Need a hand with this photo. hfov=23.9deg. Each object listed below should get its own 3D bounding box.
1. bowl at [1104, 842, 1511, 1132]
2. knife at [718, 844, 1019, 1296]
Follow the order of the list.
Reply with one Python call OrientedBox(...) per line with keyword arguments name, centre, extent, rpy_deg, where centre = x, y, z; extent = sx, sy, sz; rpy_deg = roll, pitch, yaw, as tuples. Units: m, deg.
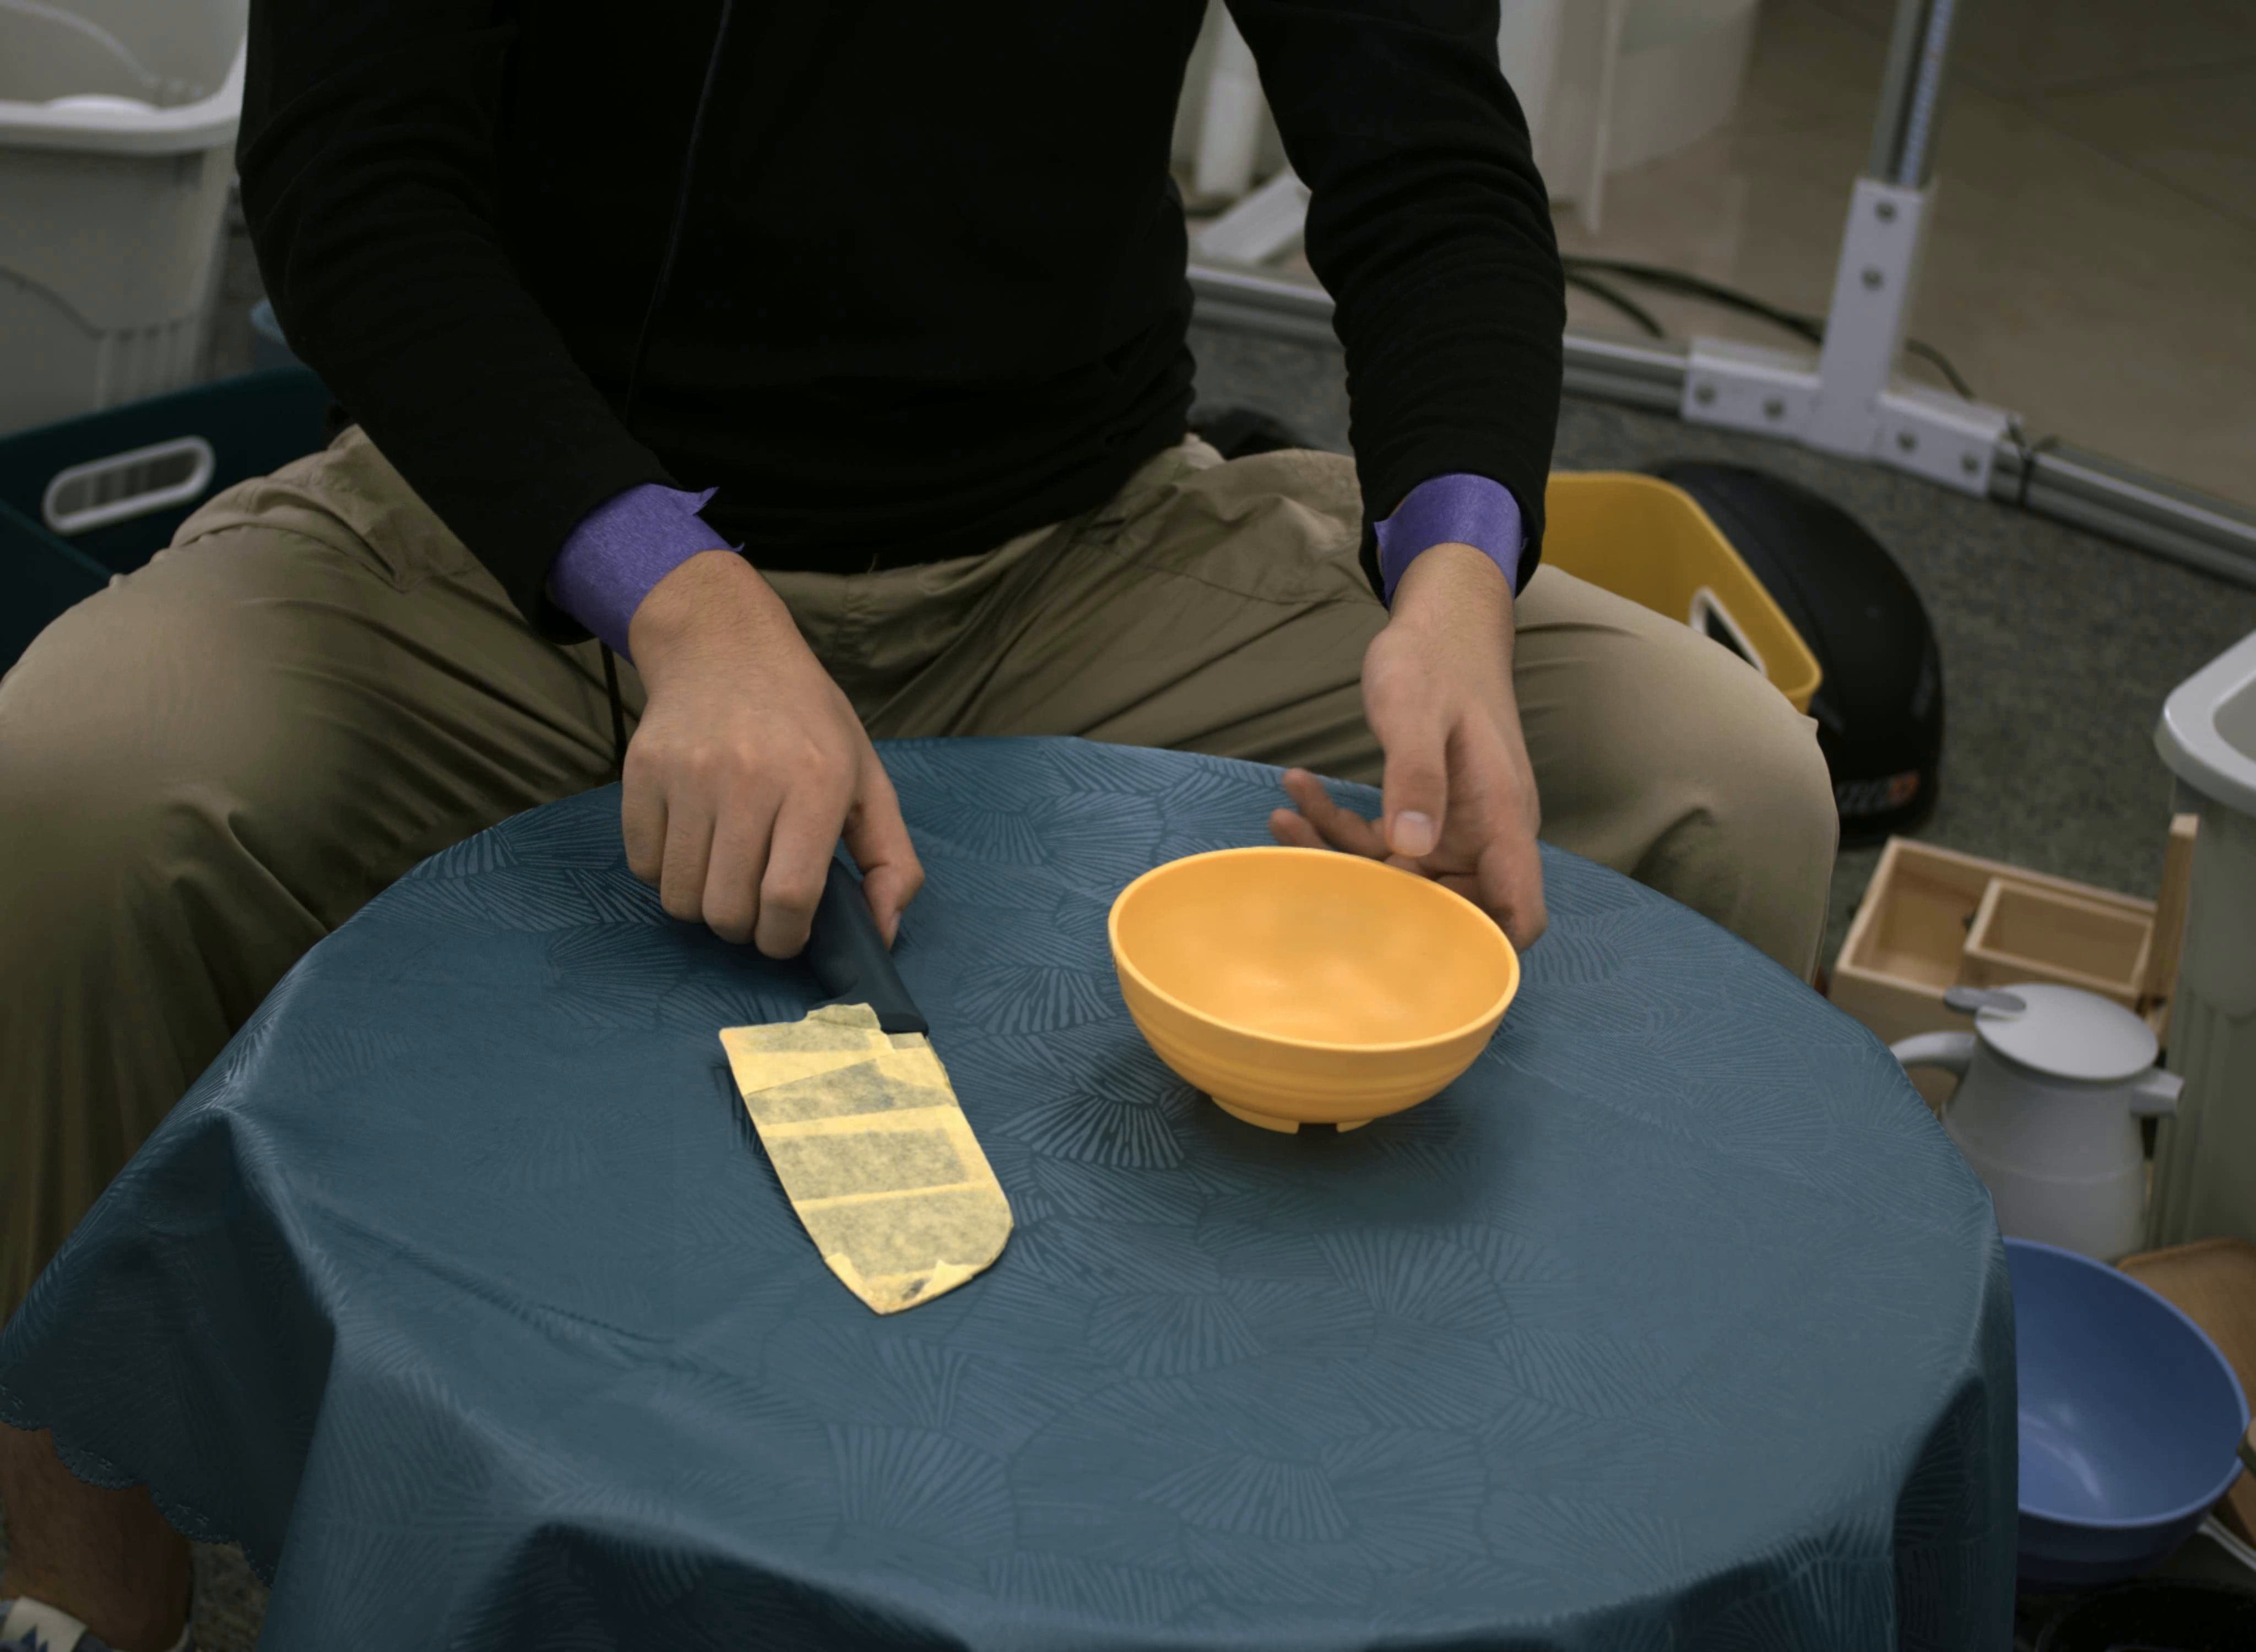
OrientedBox(name="bowl", centre=(0.059, 0.066, 1.868), extent=(0.145, 0.060, 0.146), rpy_deg=(7, 27, -4))
OrientedBox(name="knife", centre=(-0.100, 0.083, 1.848), extent=(0.080, 0.027, 0.292), rpy_deg=(-1, 29, -16))
